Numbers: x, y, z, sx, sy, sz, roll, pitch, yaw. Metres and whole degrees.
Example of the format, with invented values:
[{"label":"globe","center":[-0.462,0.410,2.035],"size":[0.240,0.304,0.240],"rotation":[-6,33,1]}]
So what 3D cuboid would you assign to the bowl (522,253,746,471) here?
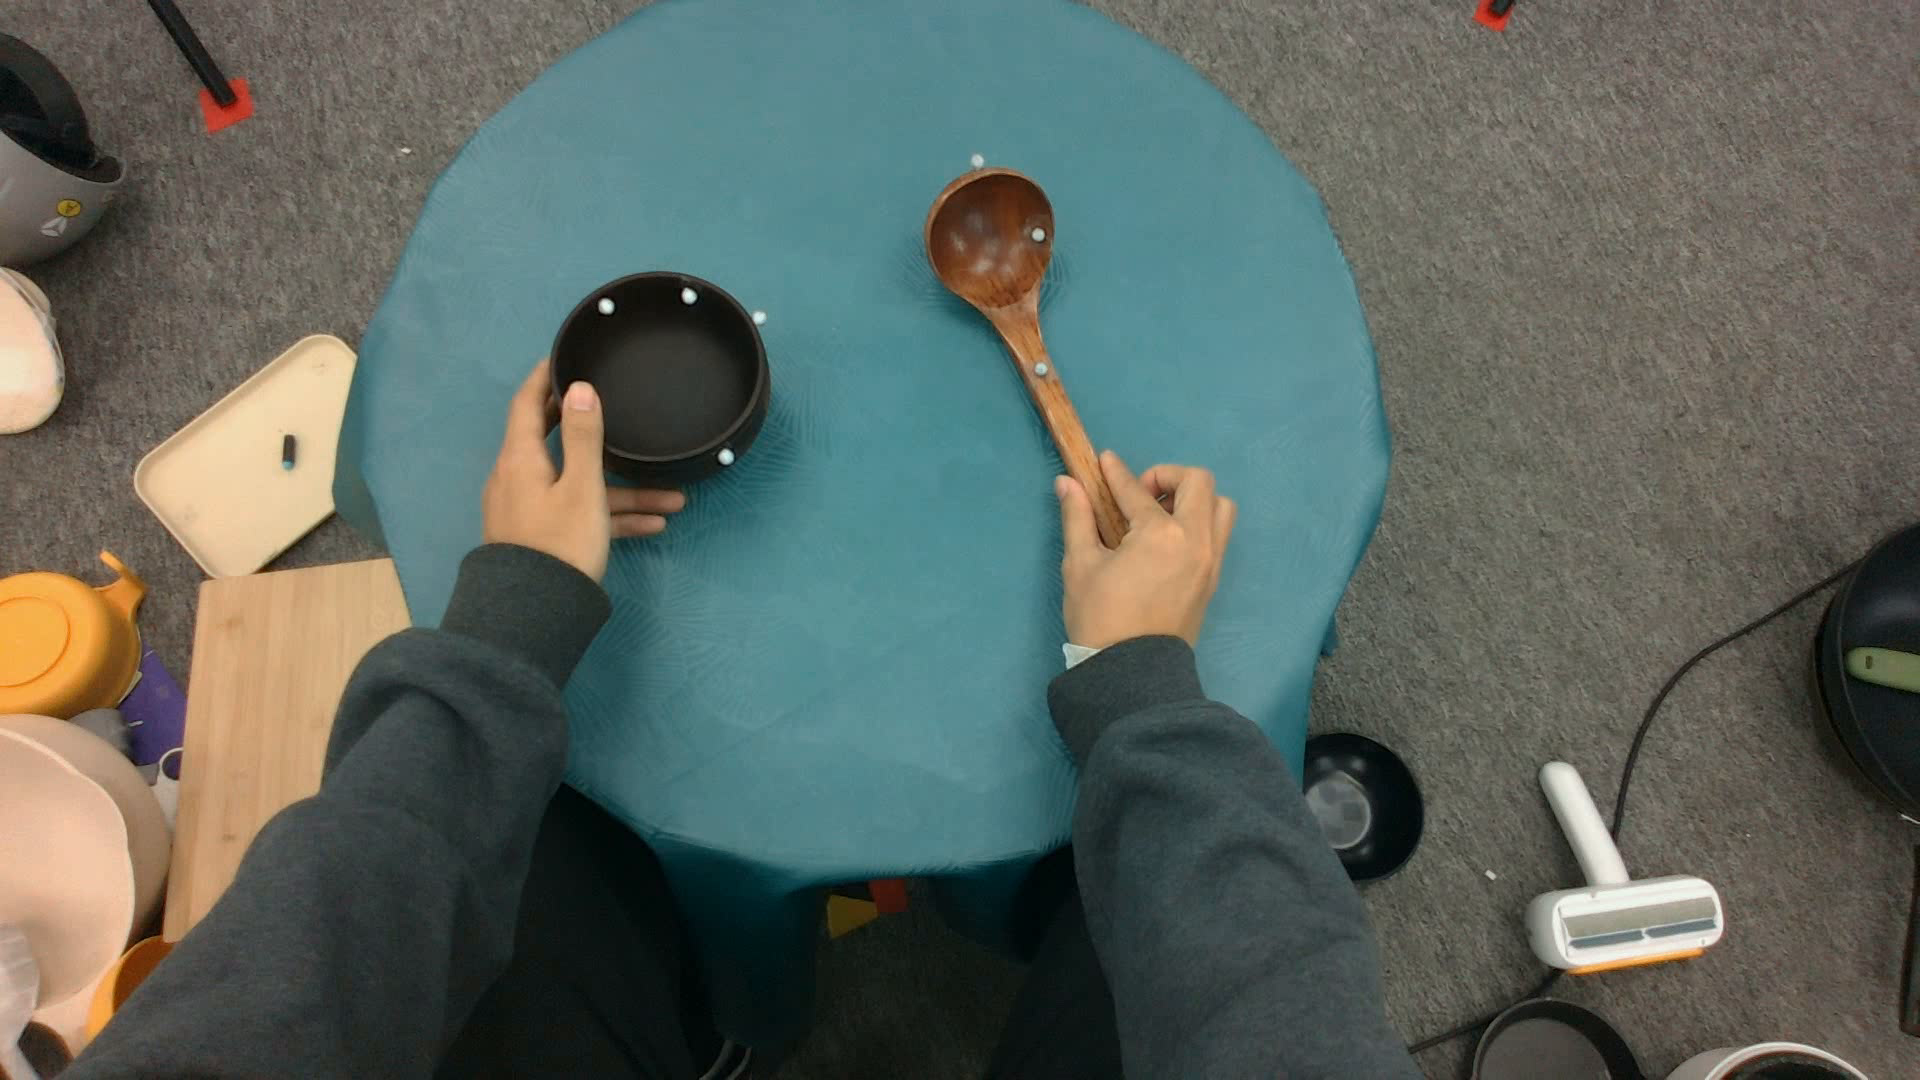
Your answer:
[{"label":"bowl","center":[-0.177,-0.092,0.765],"size":[0.118,0.069,0.118],"rotation":[2,70,-5]}]

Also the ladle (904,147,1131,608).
[{"label":"ladle","center":[0.043,-0.097,0.782],"size":[0.082,0.076,0.274],"rotation":[-20,73,-6]}]
